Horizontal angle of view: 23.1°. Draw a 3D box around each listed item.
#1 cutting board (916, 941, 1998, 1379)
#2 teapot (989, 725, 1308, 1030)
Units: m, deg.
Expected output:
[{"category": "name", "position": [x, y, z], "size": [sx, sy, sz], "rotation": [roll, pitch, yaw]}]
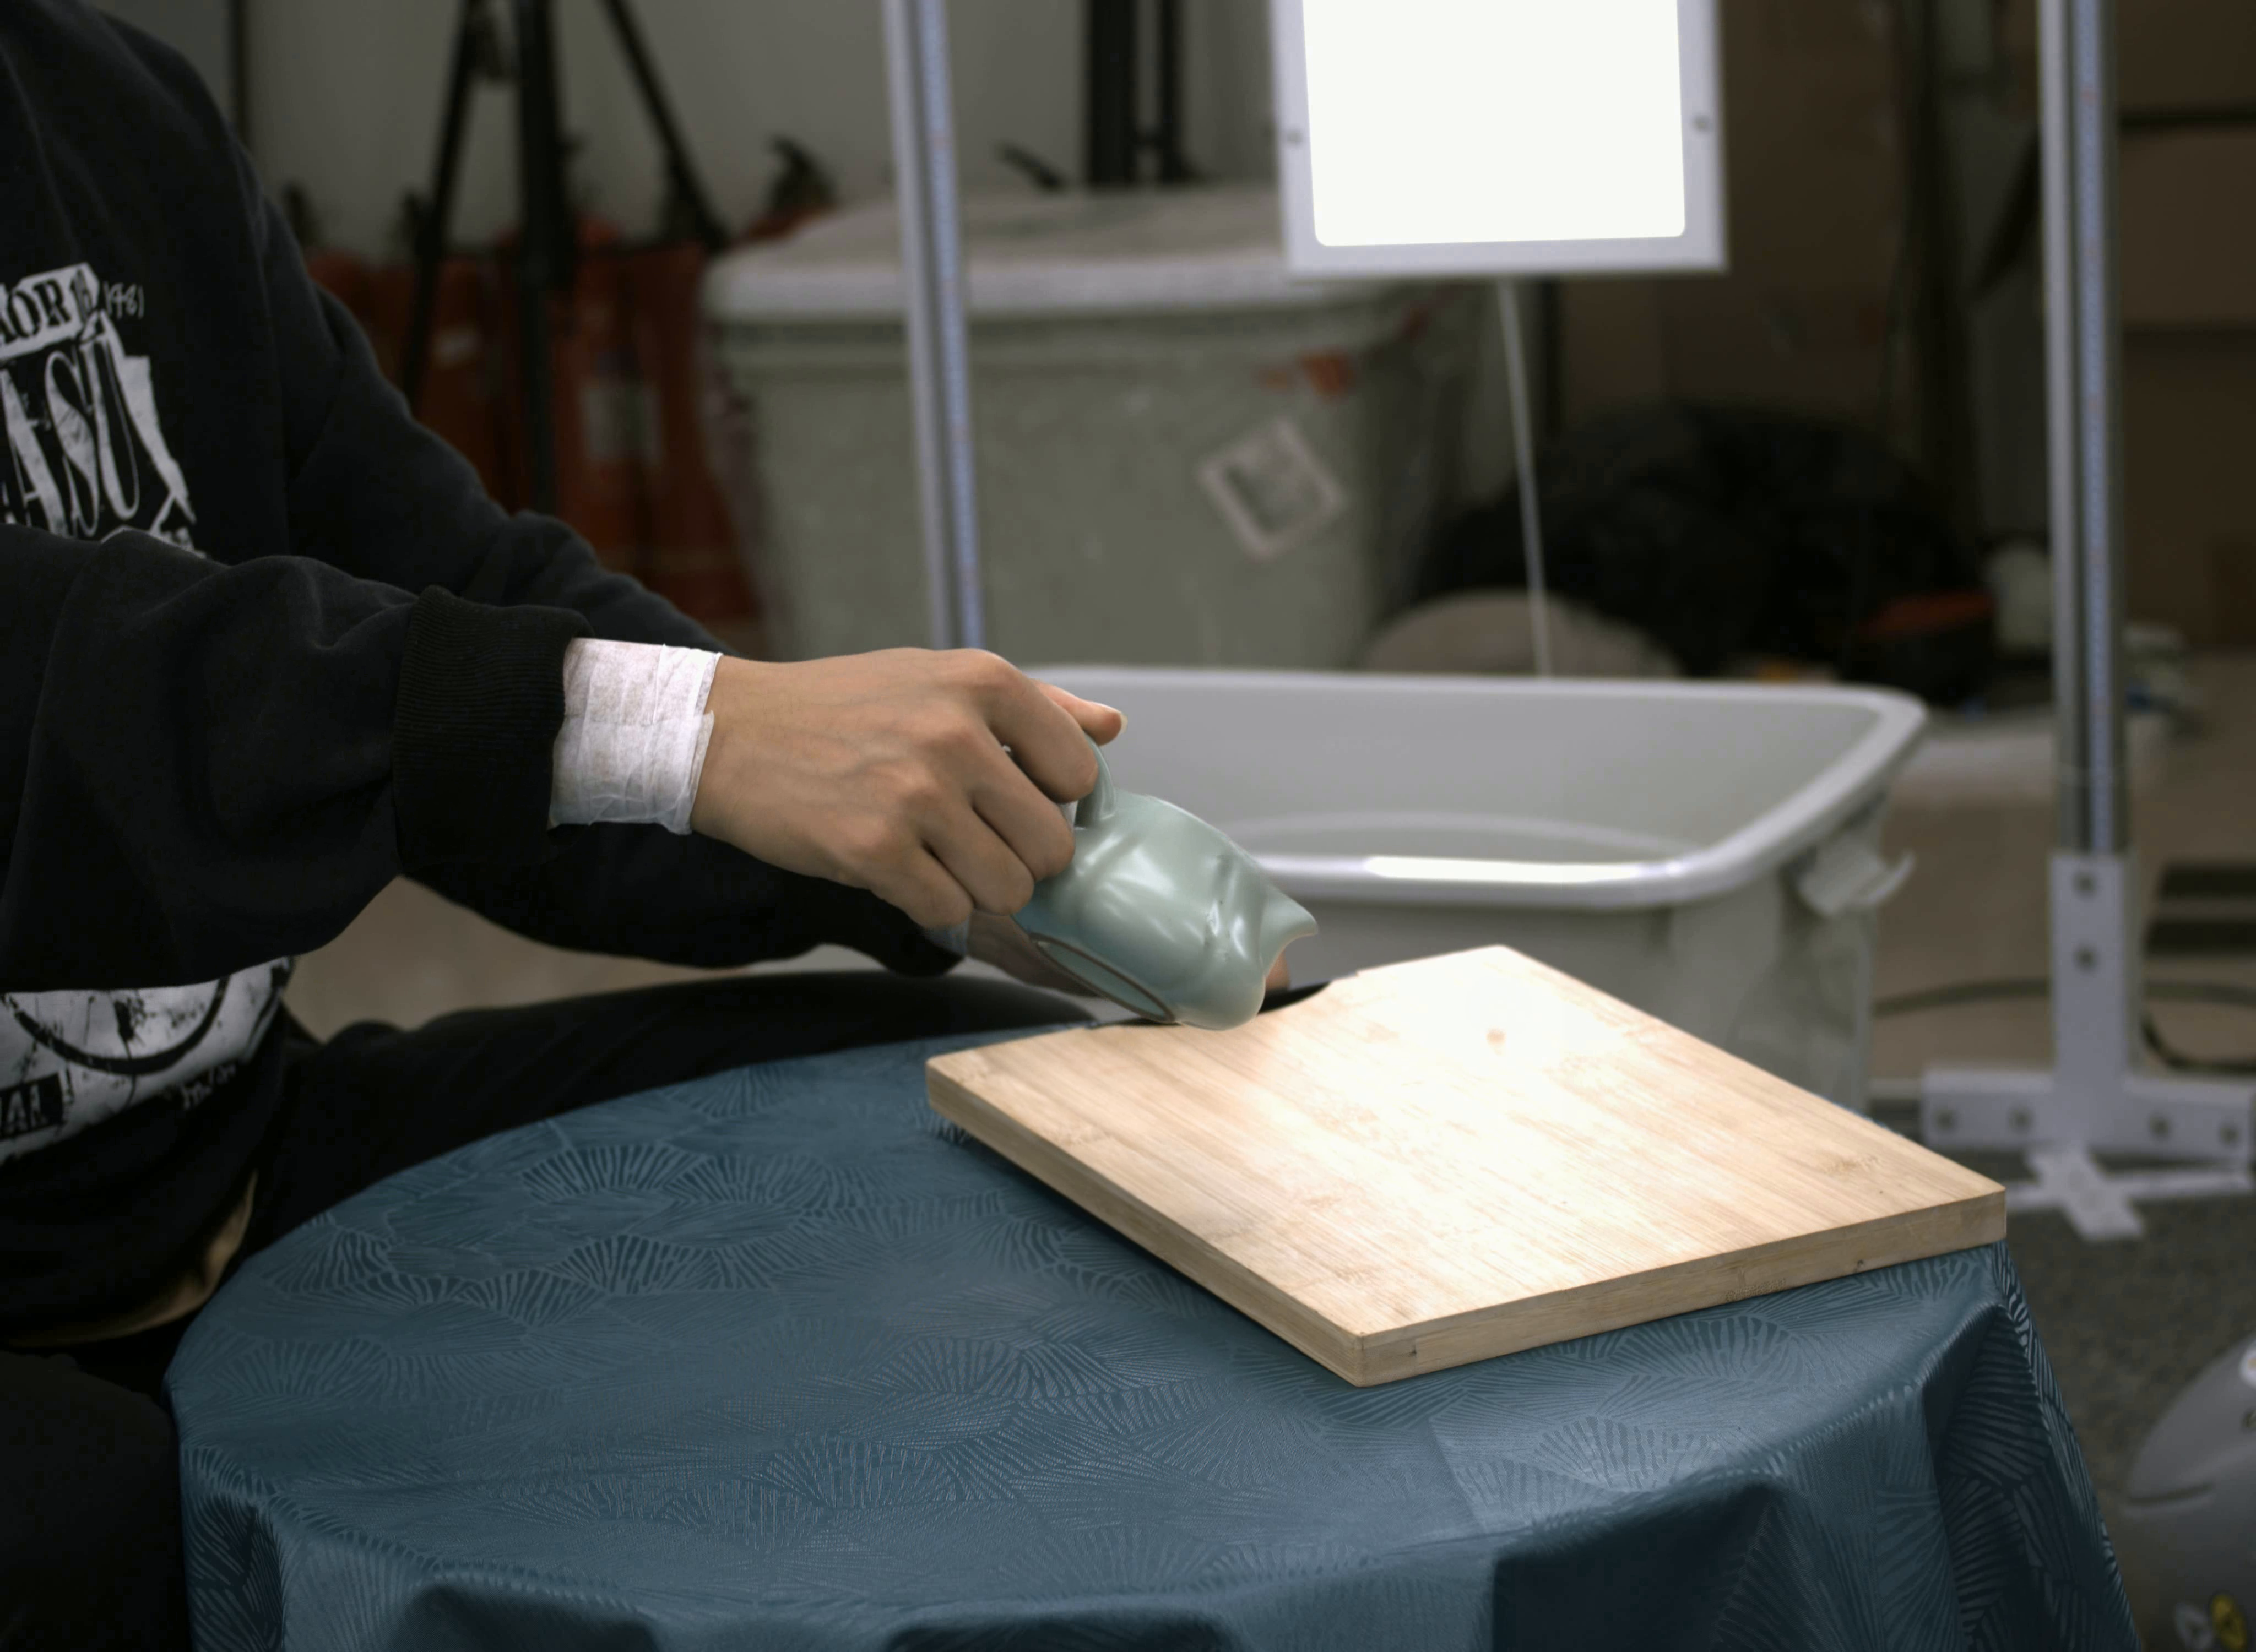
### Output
[{"category": "cutting board", "position": [0.104, 0.108, 1.882], "size": [0.246, 0.023, 0.354], "rotation": [-11, 17, -23]}, {"category": "teapot", "position": [0.003, 0.022, 1.756], "size": [0.135, 0.061, 0.098], "rotation": [38, -12, -35]}]
